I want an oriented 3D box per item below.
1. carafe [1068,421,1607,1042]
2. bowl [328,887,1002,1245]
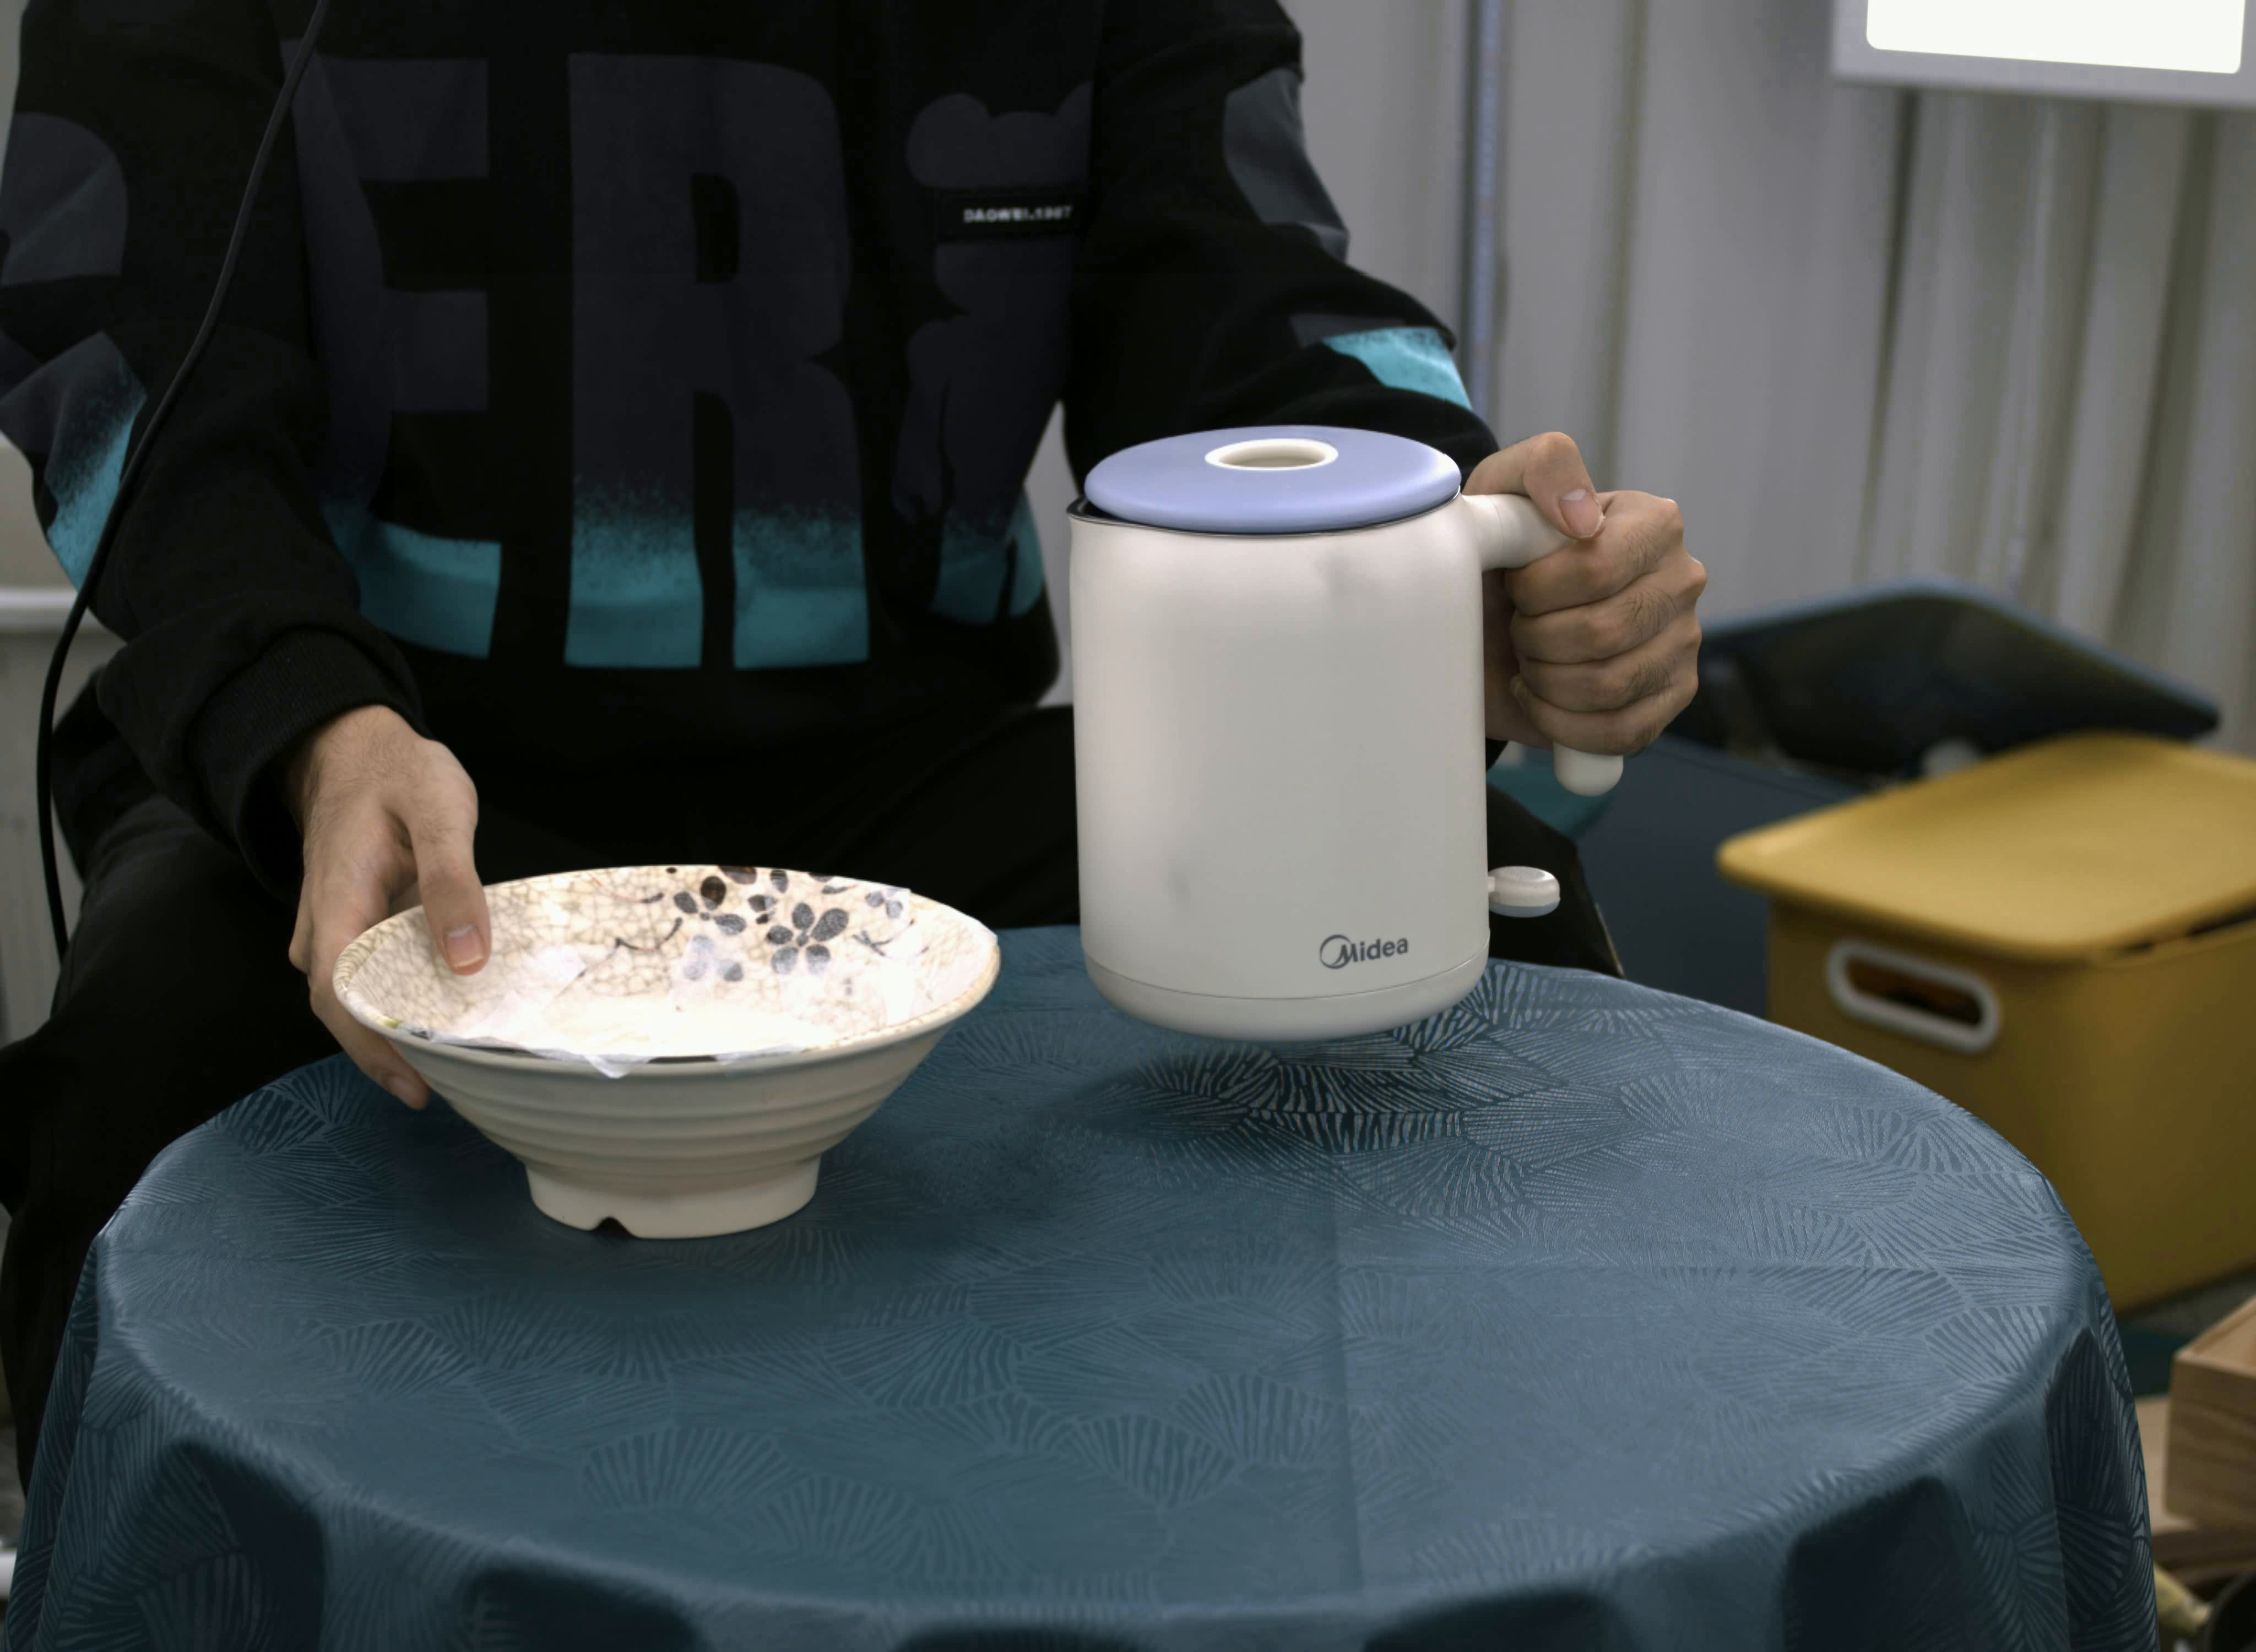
[{"bbox_3d":[0.069,-0.033,1.681,0.192,0.184,0.130,-6,19,-23],"label":"carafe"},{"bbox_3d":[-0.139,0.078,1.600,0.203,0.078,0.203,0,13,1],"label":"bowl"}]
